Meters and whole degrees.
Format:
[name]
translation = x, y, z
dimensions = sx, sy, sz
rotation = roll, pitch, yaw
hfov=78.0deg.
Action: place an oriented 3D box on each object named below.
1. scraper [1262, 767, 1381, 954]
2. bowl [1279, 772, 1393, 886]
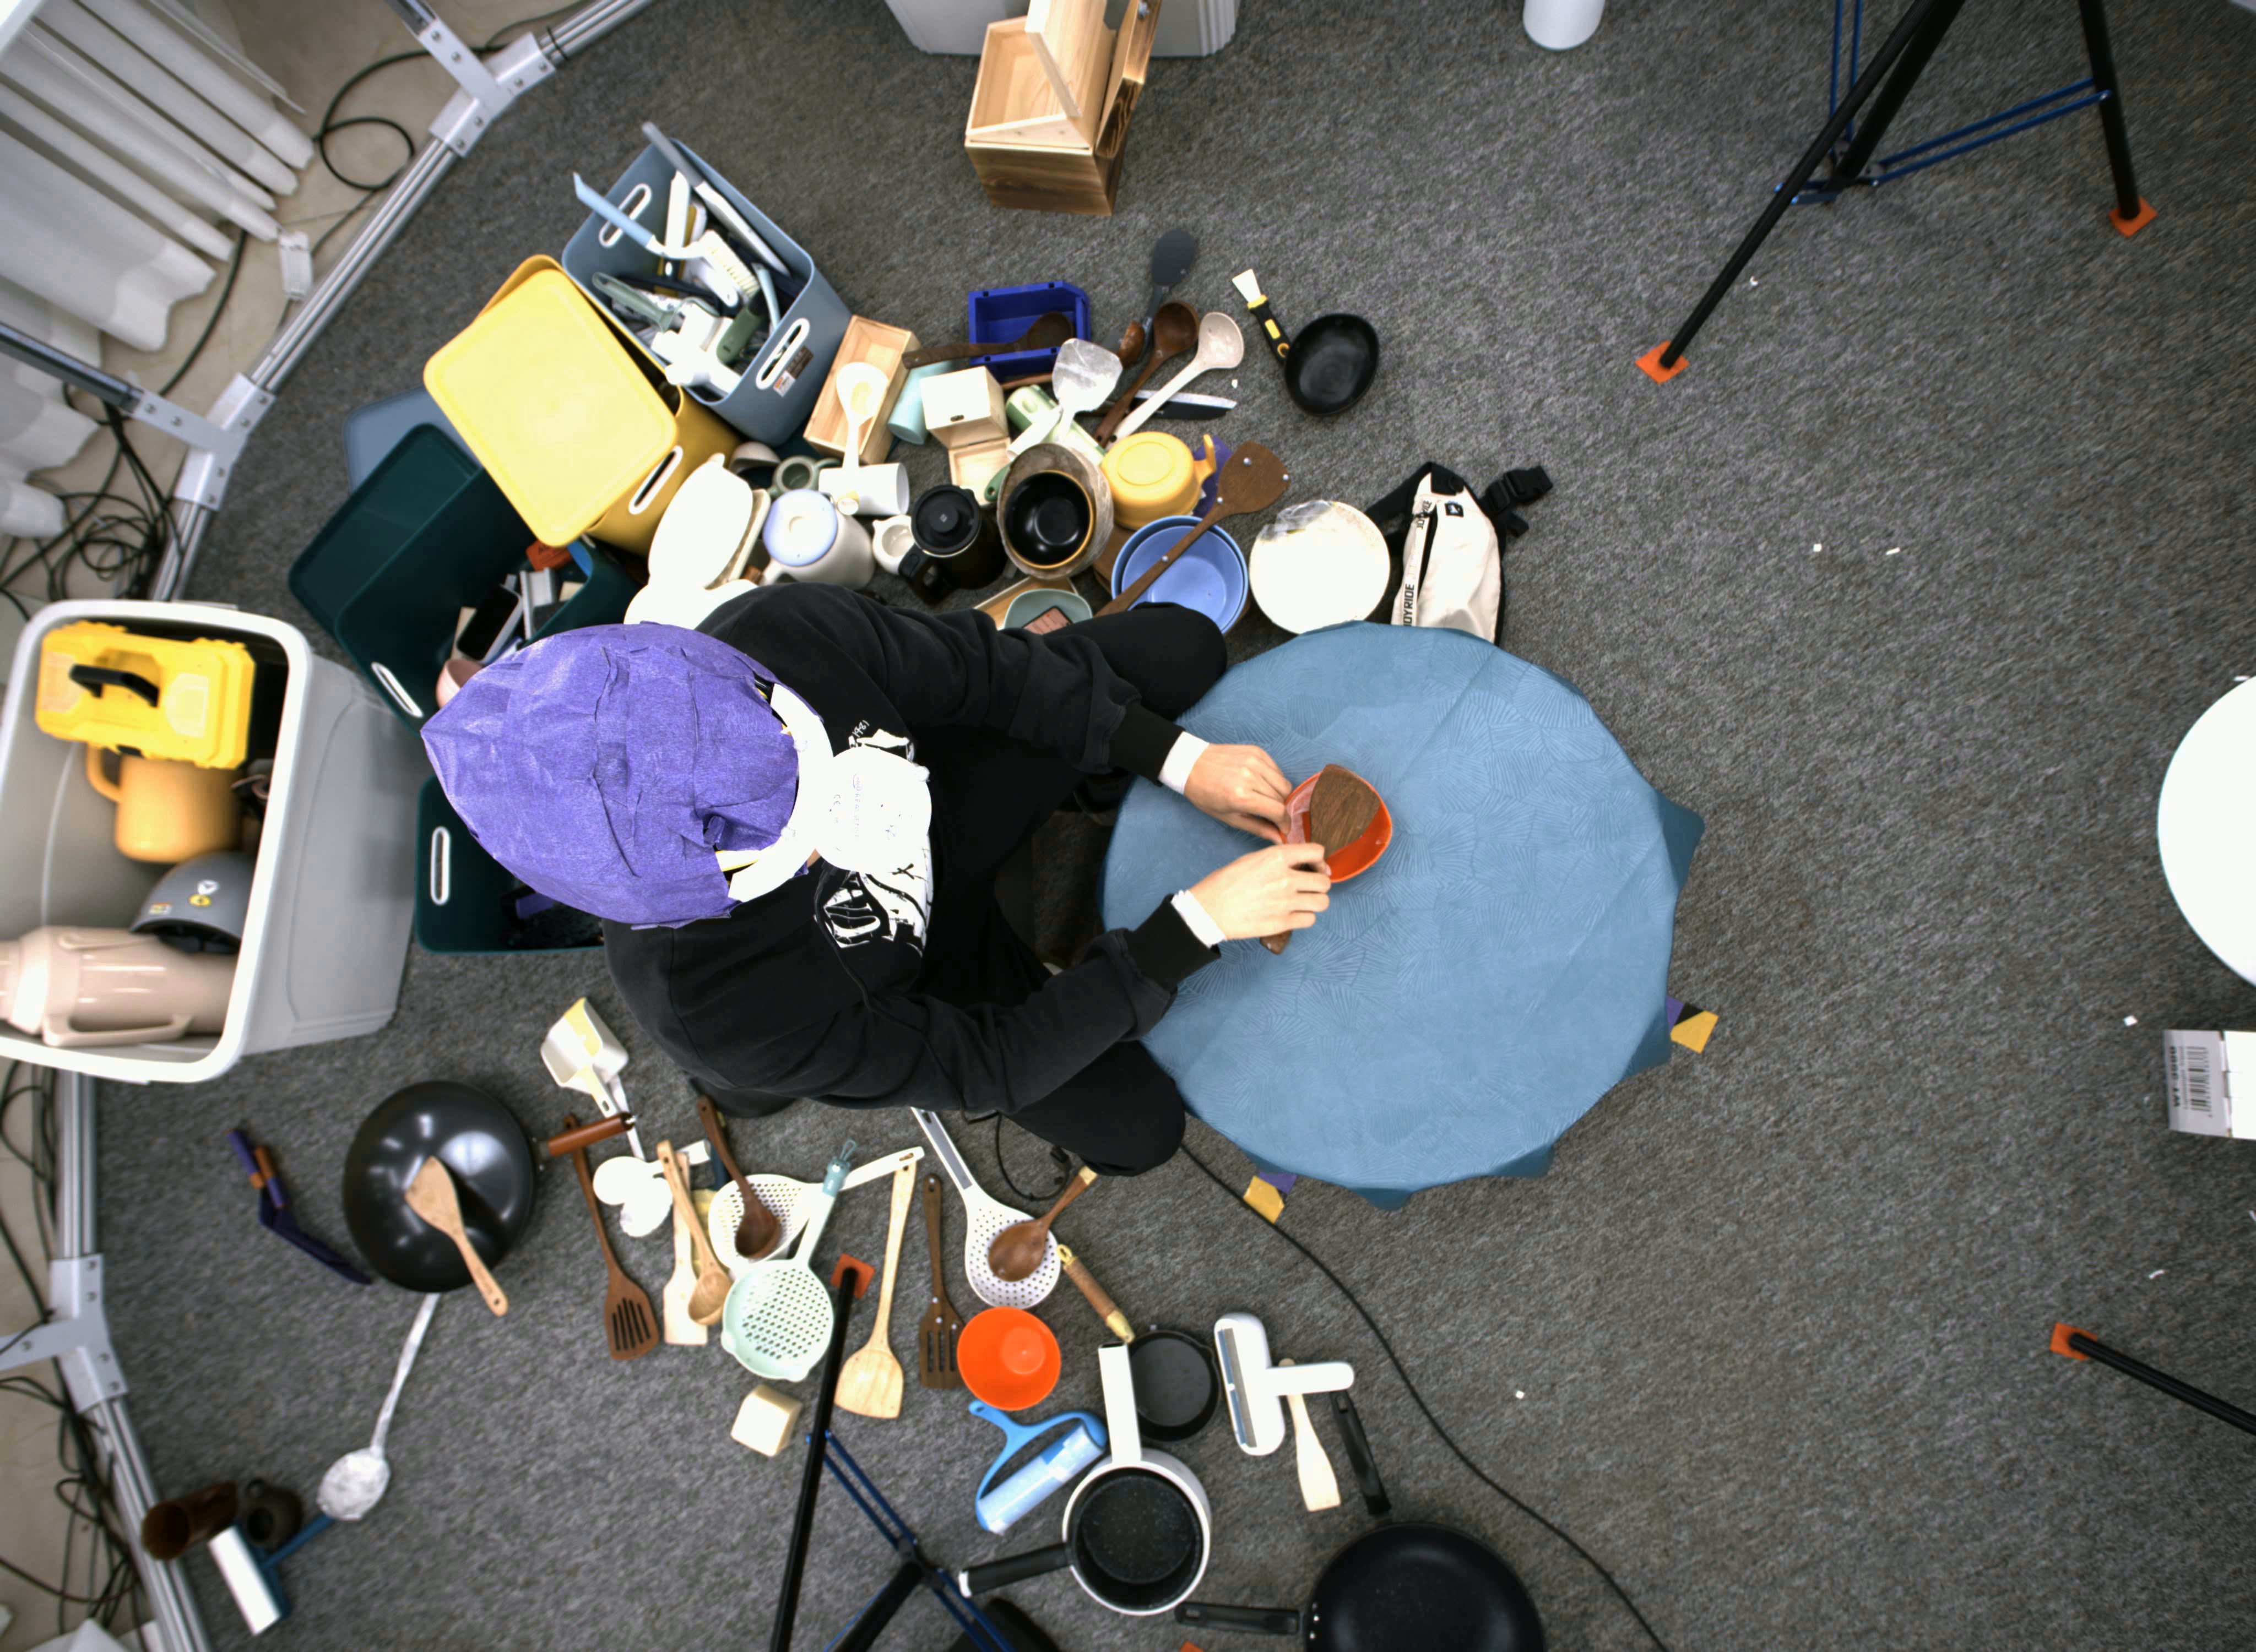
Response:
[scraper]
translation = 0.186, 0.037, 1.377
dimensions = 0.076, 0.011, 0.207
rotation = 39, 67, -18
[bowl]
translation = 0.214, 0.002, 1.448
dimensions = 0.119, 0.051, 0.119
rotation = 0, 93, -2
